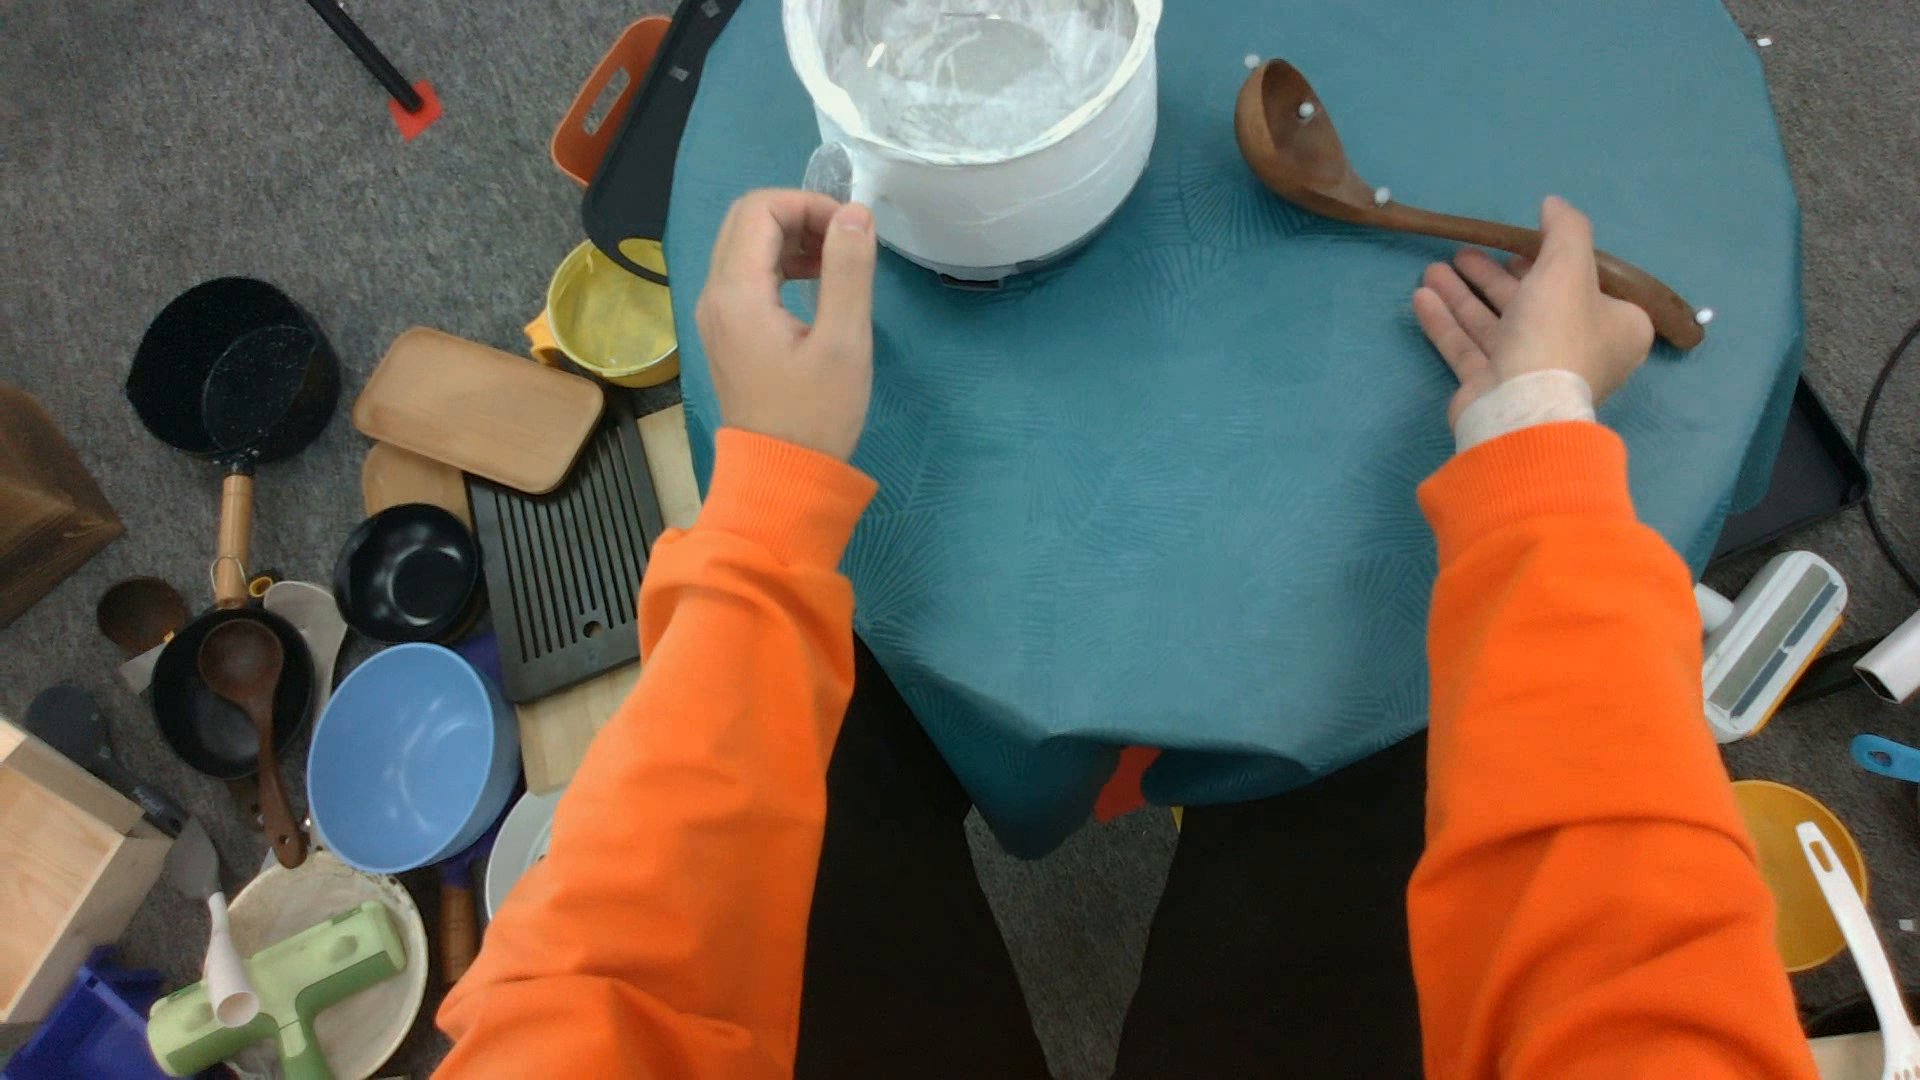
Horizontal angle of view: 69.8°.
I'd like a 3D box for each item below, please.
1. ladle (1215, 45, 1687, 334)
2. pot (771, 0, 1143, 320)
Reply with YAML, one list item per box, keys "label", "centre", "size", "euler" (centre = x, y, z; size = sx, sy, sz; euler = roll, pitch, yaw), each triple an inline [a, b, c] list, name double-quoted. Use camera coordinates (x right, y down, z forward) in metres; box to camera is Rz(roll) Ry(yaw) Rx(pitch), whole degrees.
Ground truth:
- label: "ladle"
  centre: [0.250, -0.178, 0.698]
  size: [0.260, 0.065, 0.077]
  euler: [25, 53, 13]
- label: "pot"
  centre: [-0.012, -0.221, 0.696]
  size: [0.179, 0.136, 0.234]
  euler: [34, 80, 14]
